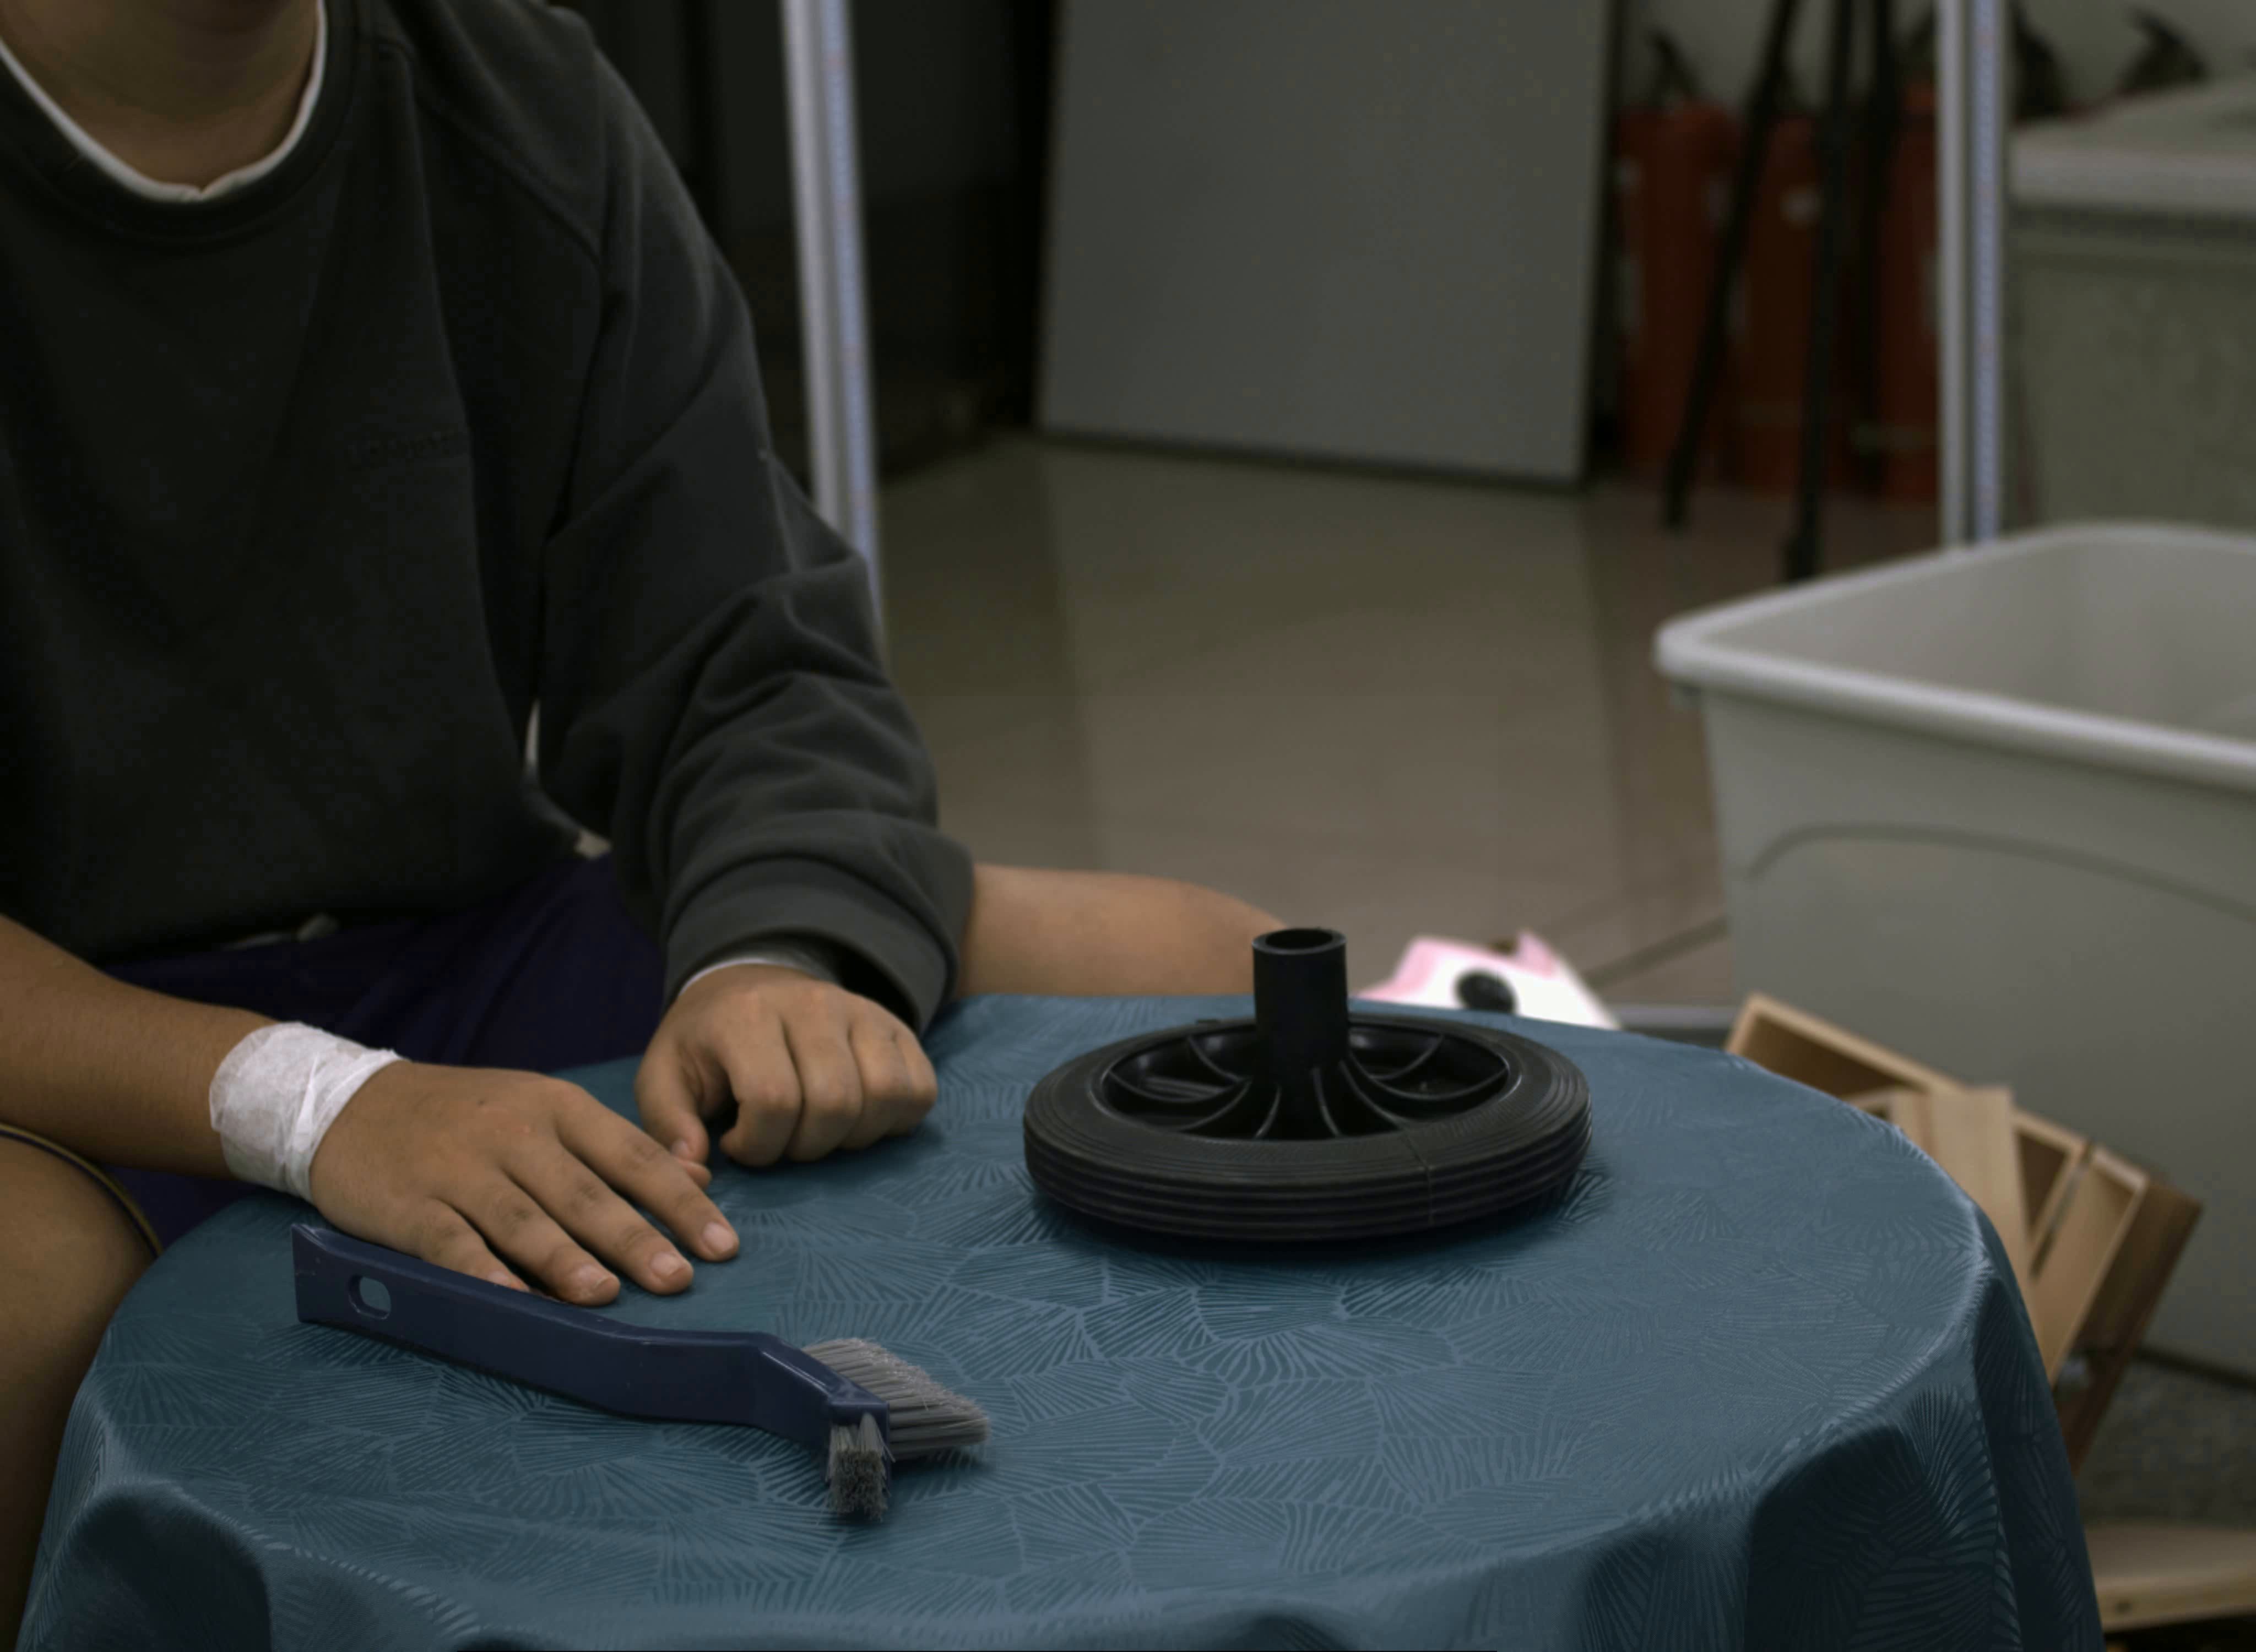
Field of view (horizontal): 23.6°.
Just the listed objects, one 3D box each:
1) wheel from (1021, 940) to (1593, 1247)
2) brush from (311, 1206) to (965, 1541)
[{"bbox_3d":[0.057,0.080,1.760,0.189,0.080,0.186,-1,14,14],"label":"wheel"},{"bbox_3d":[-0.162,0.158,1.596,0.275,0.034,0.094,8,19,36],"label":"brush"}]
